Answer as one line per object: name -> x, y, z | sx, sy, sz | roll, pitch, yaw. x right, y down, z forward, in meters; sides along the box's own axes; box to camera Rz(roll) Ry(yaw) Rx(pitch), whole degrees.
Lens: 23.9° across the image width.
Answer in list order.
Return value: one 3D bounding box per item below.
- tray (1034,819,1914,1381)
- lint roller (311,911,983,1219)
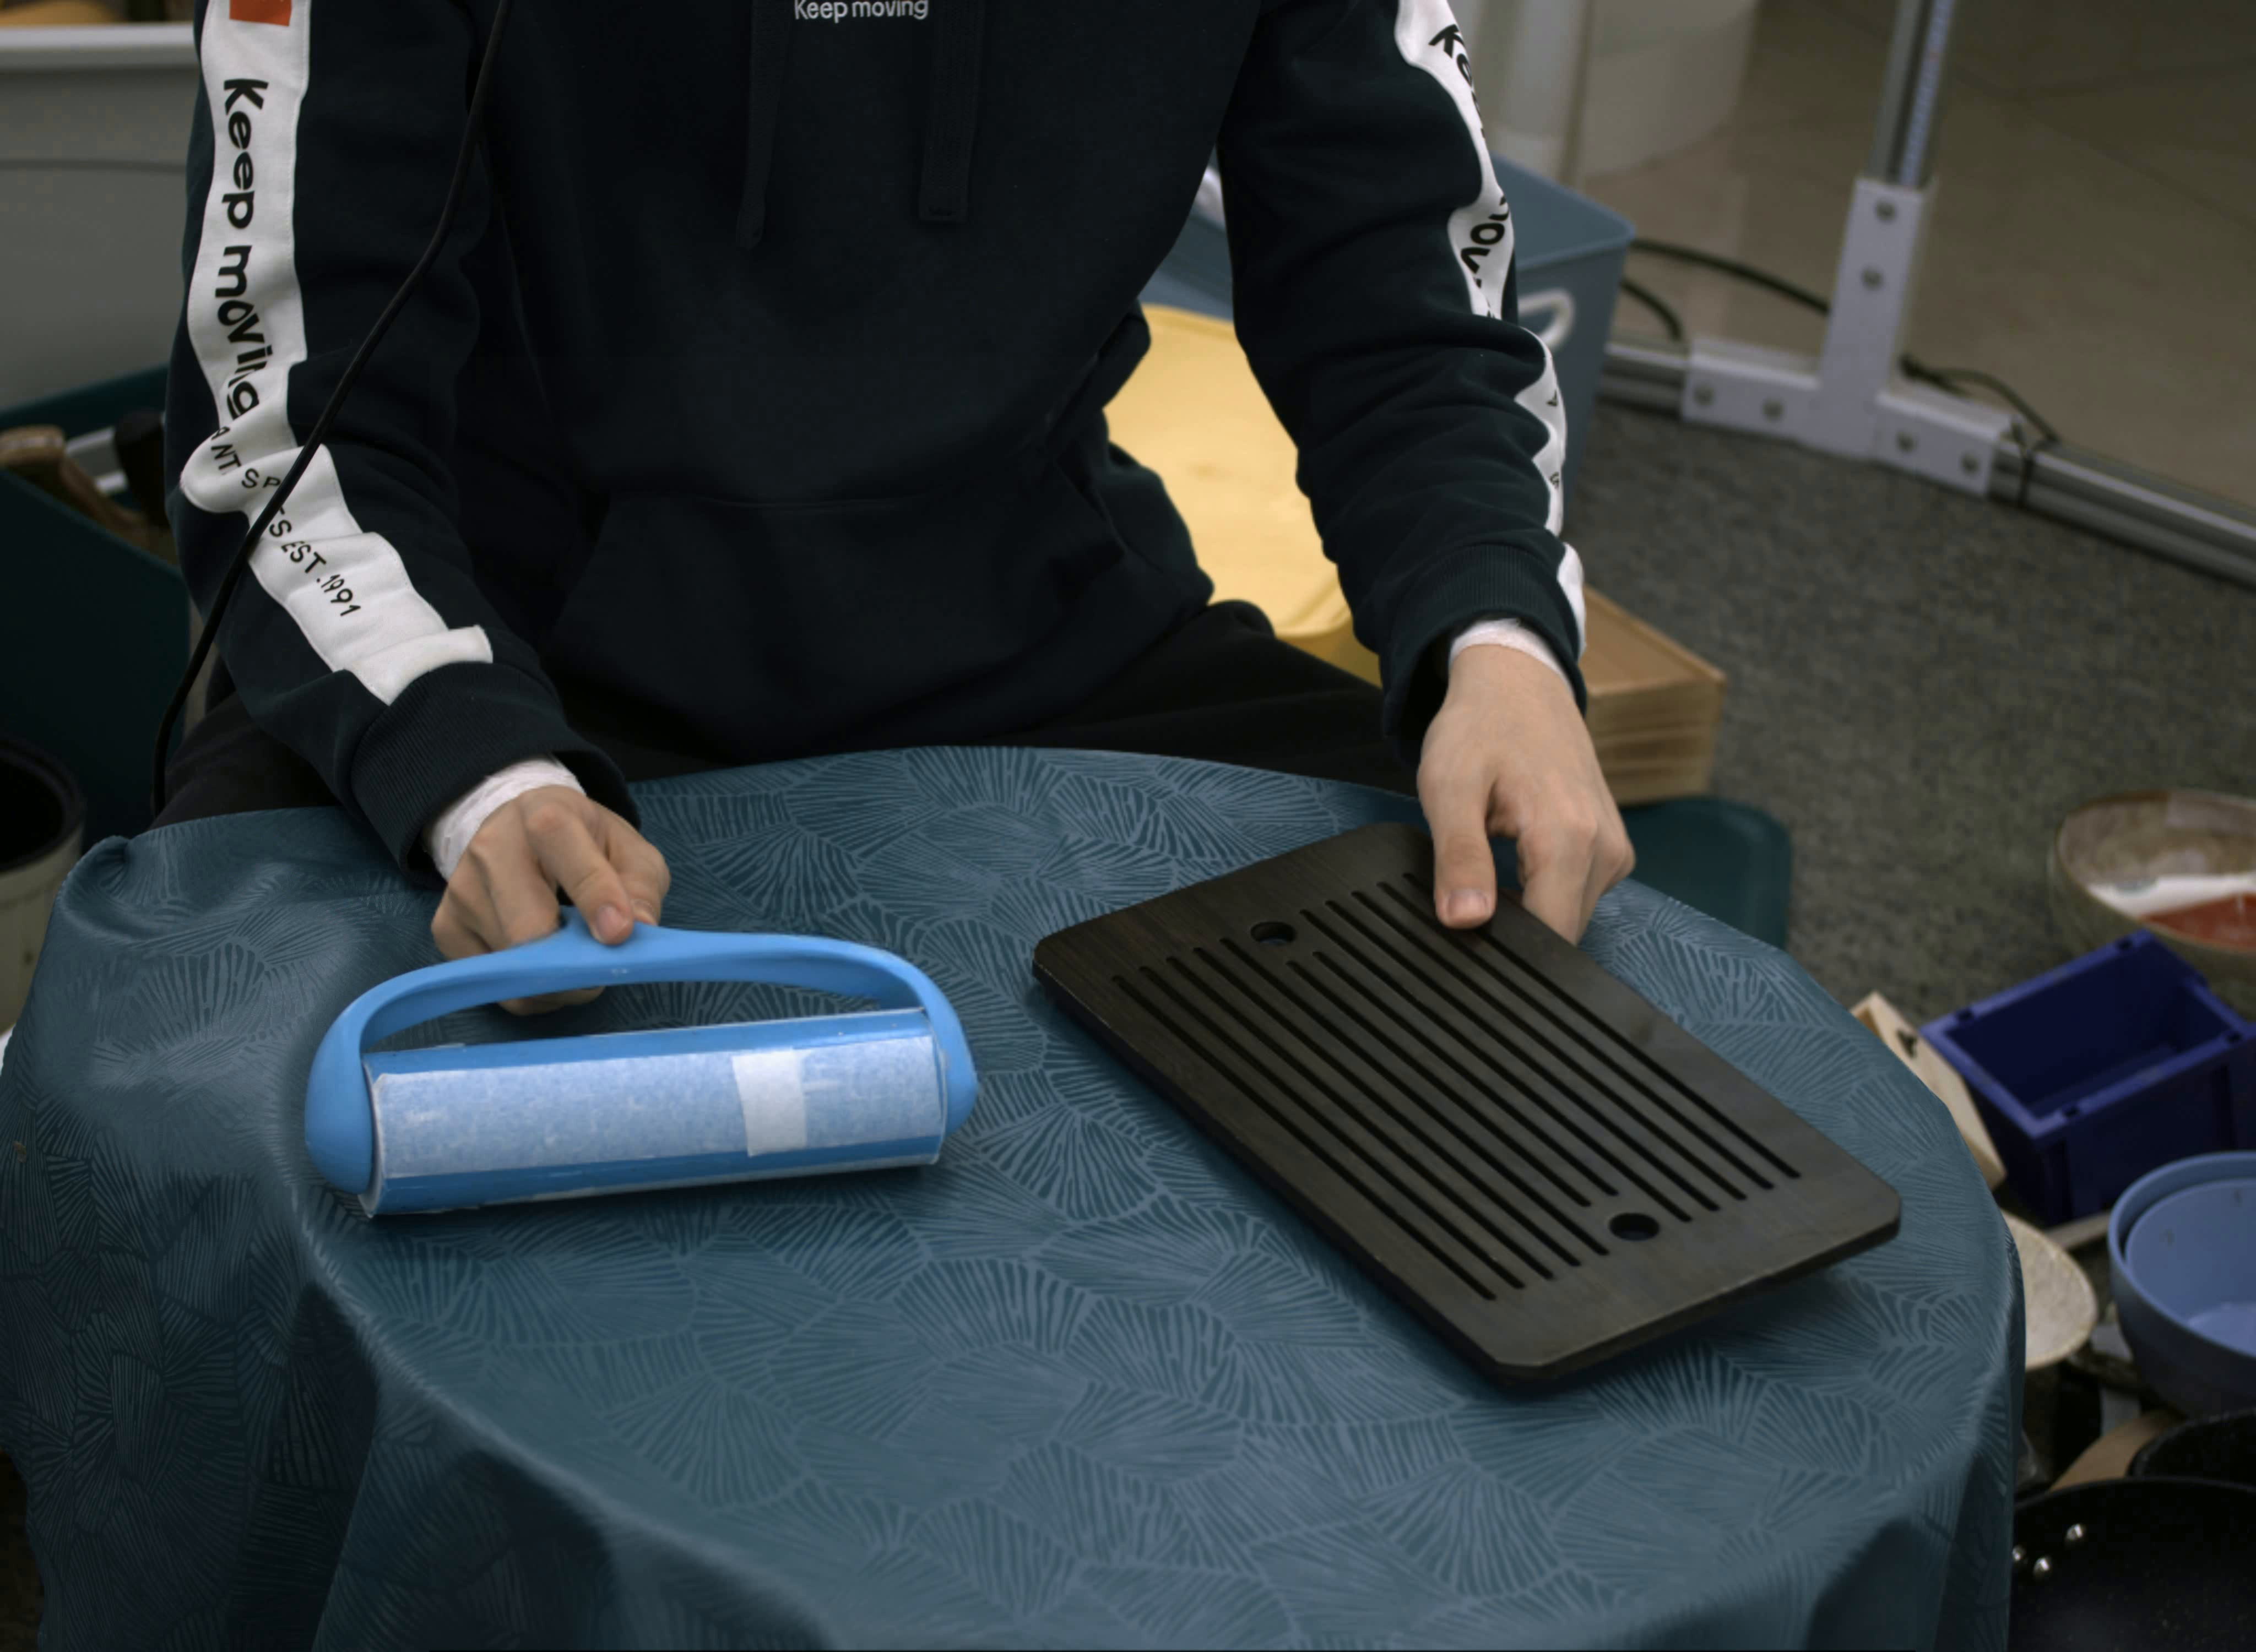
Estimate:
tray -> 0.114, 0.091, 1.845 | 0.169, 0.018, 0.308 | -19, 36, -27
lint roller -> -0.179, 0.064, 1.808 | 0.227, 0.067, 0.182 | -7, 32, -21
